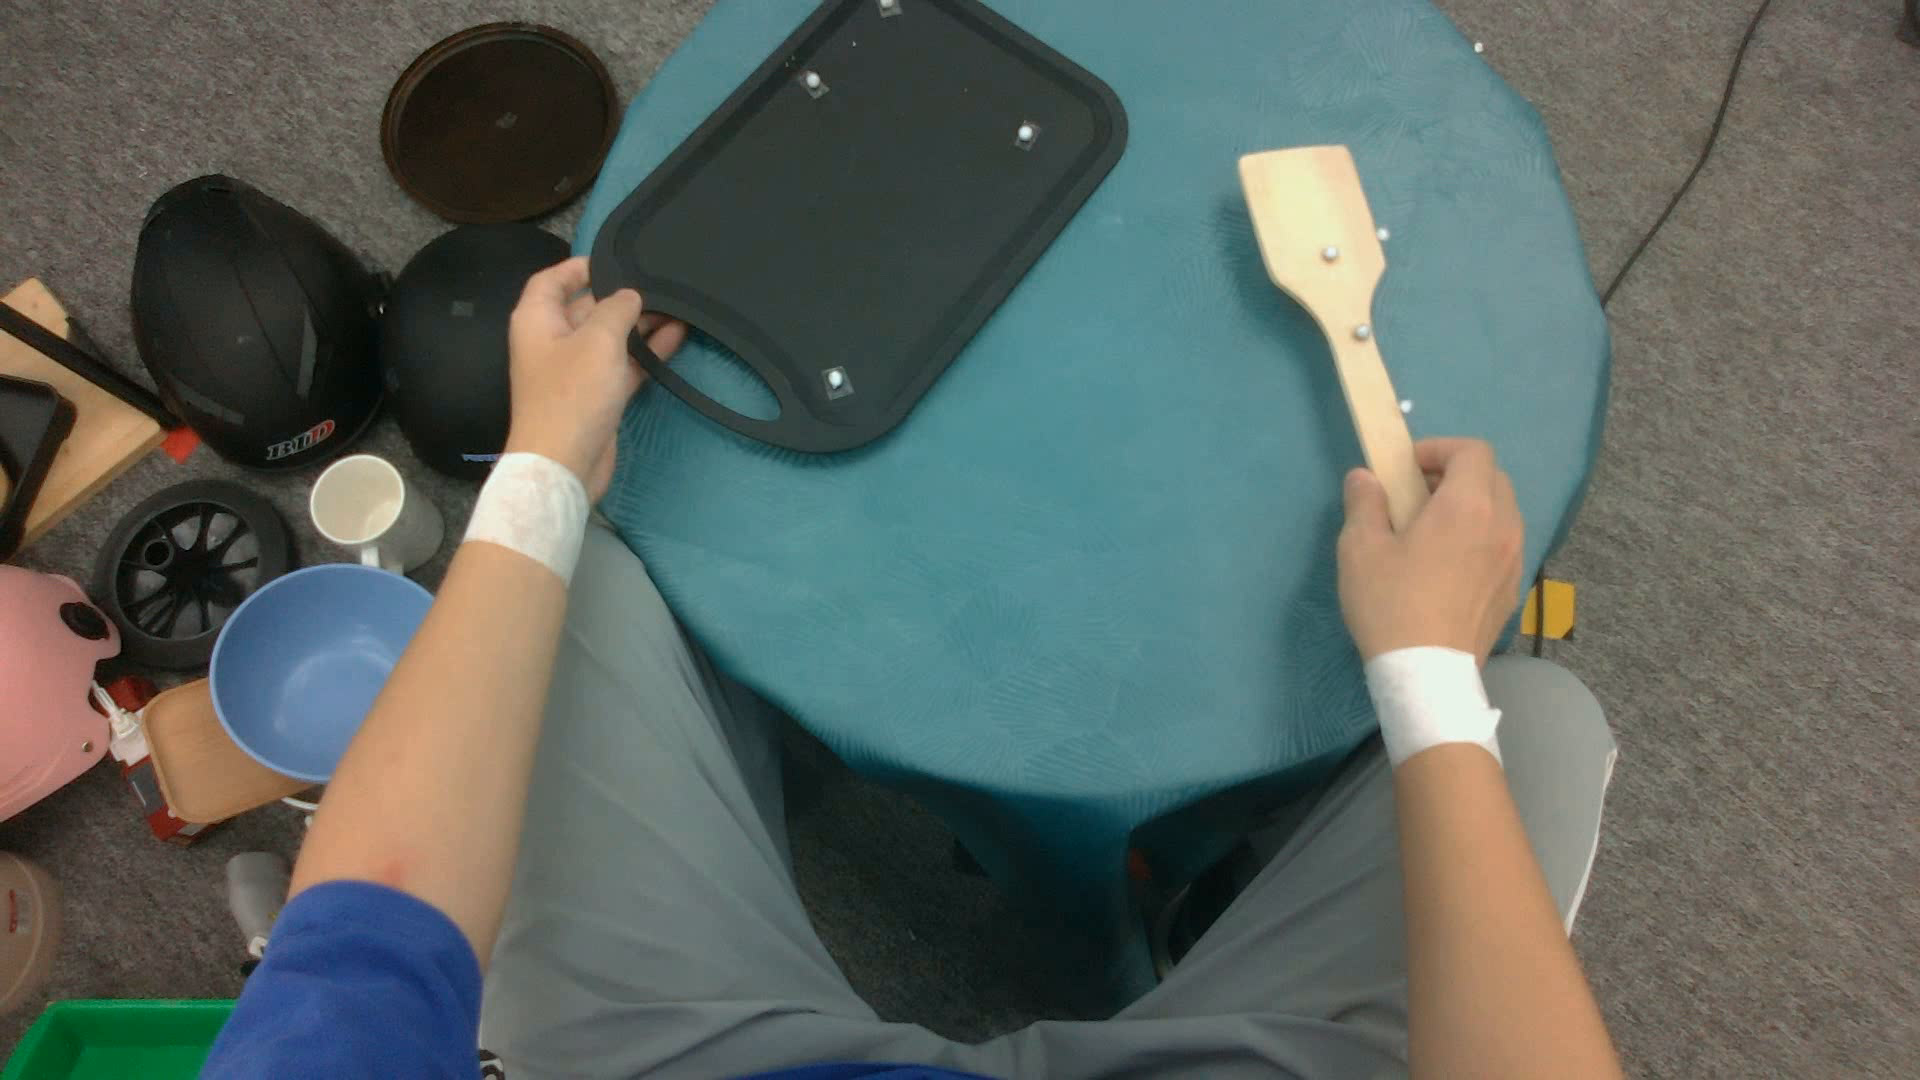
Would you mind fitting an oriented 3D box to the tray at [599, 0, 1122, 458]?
[{"bbox_3d":[-0.060,-0.198,0.828,0.211,0.010,0.326,36,73,11],"label":"tray"}]

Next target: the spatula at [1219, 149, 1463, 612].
[{"bbox_3d":[0.220,-0.096,0.771,0.072,0.010,0.294,-10,69,-11],"label":"spatula"}]
